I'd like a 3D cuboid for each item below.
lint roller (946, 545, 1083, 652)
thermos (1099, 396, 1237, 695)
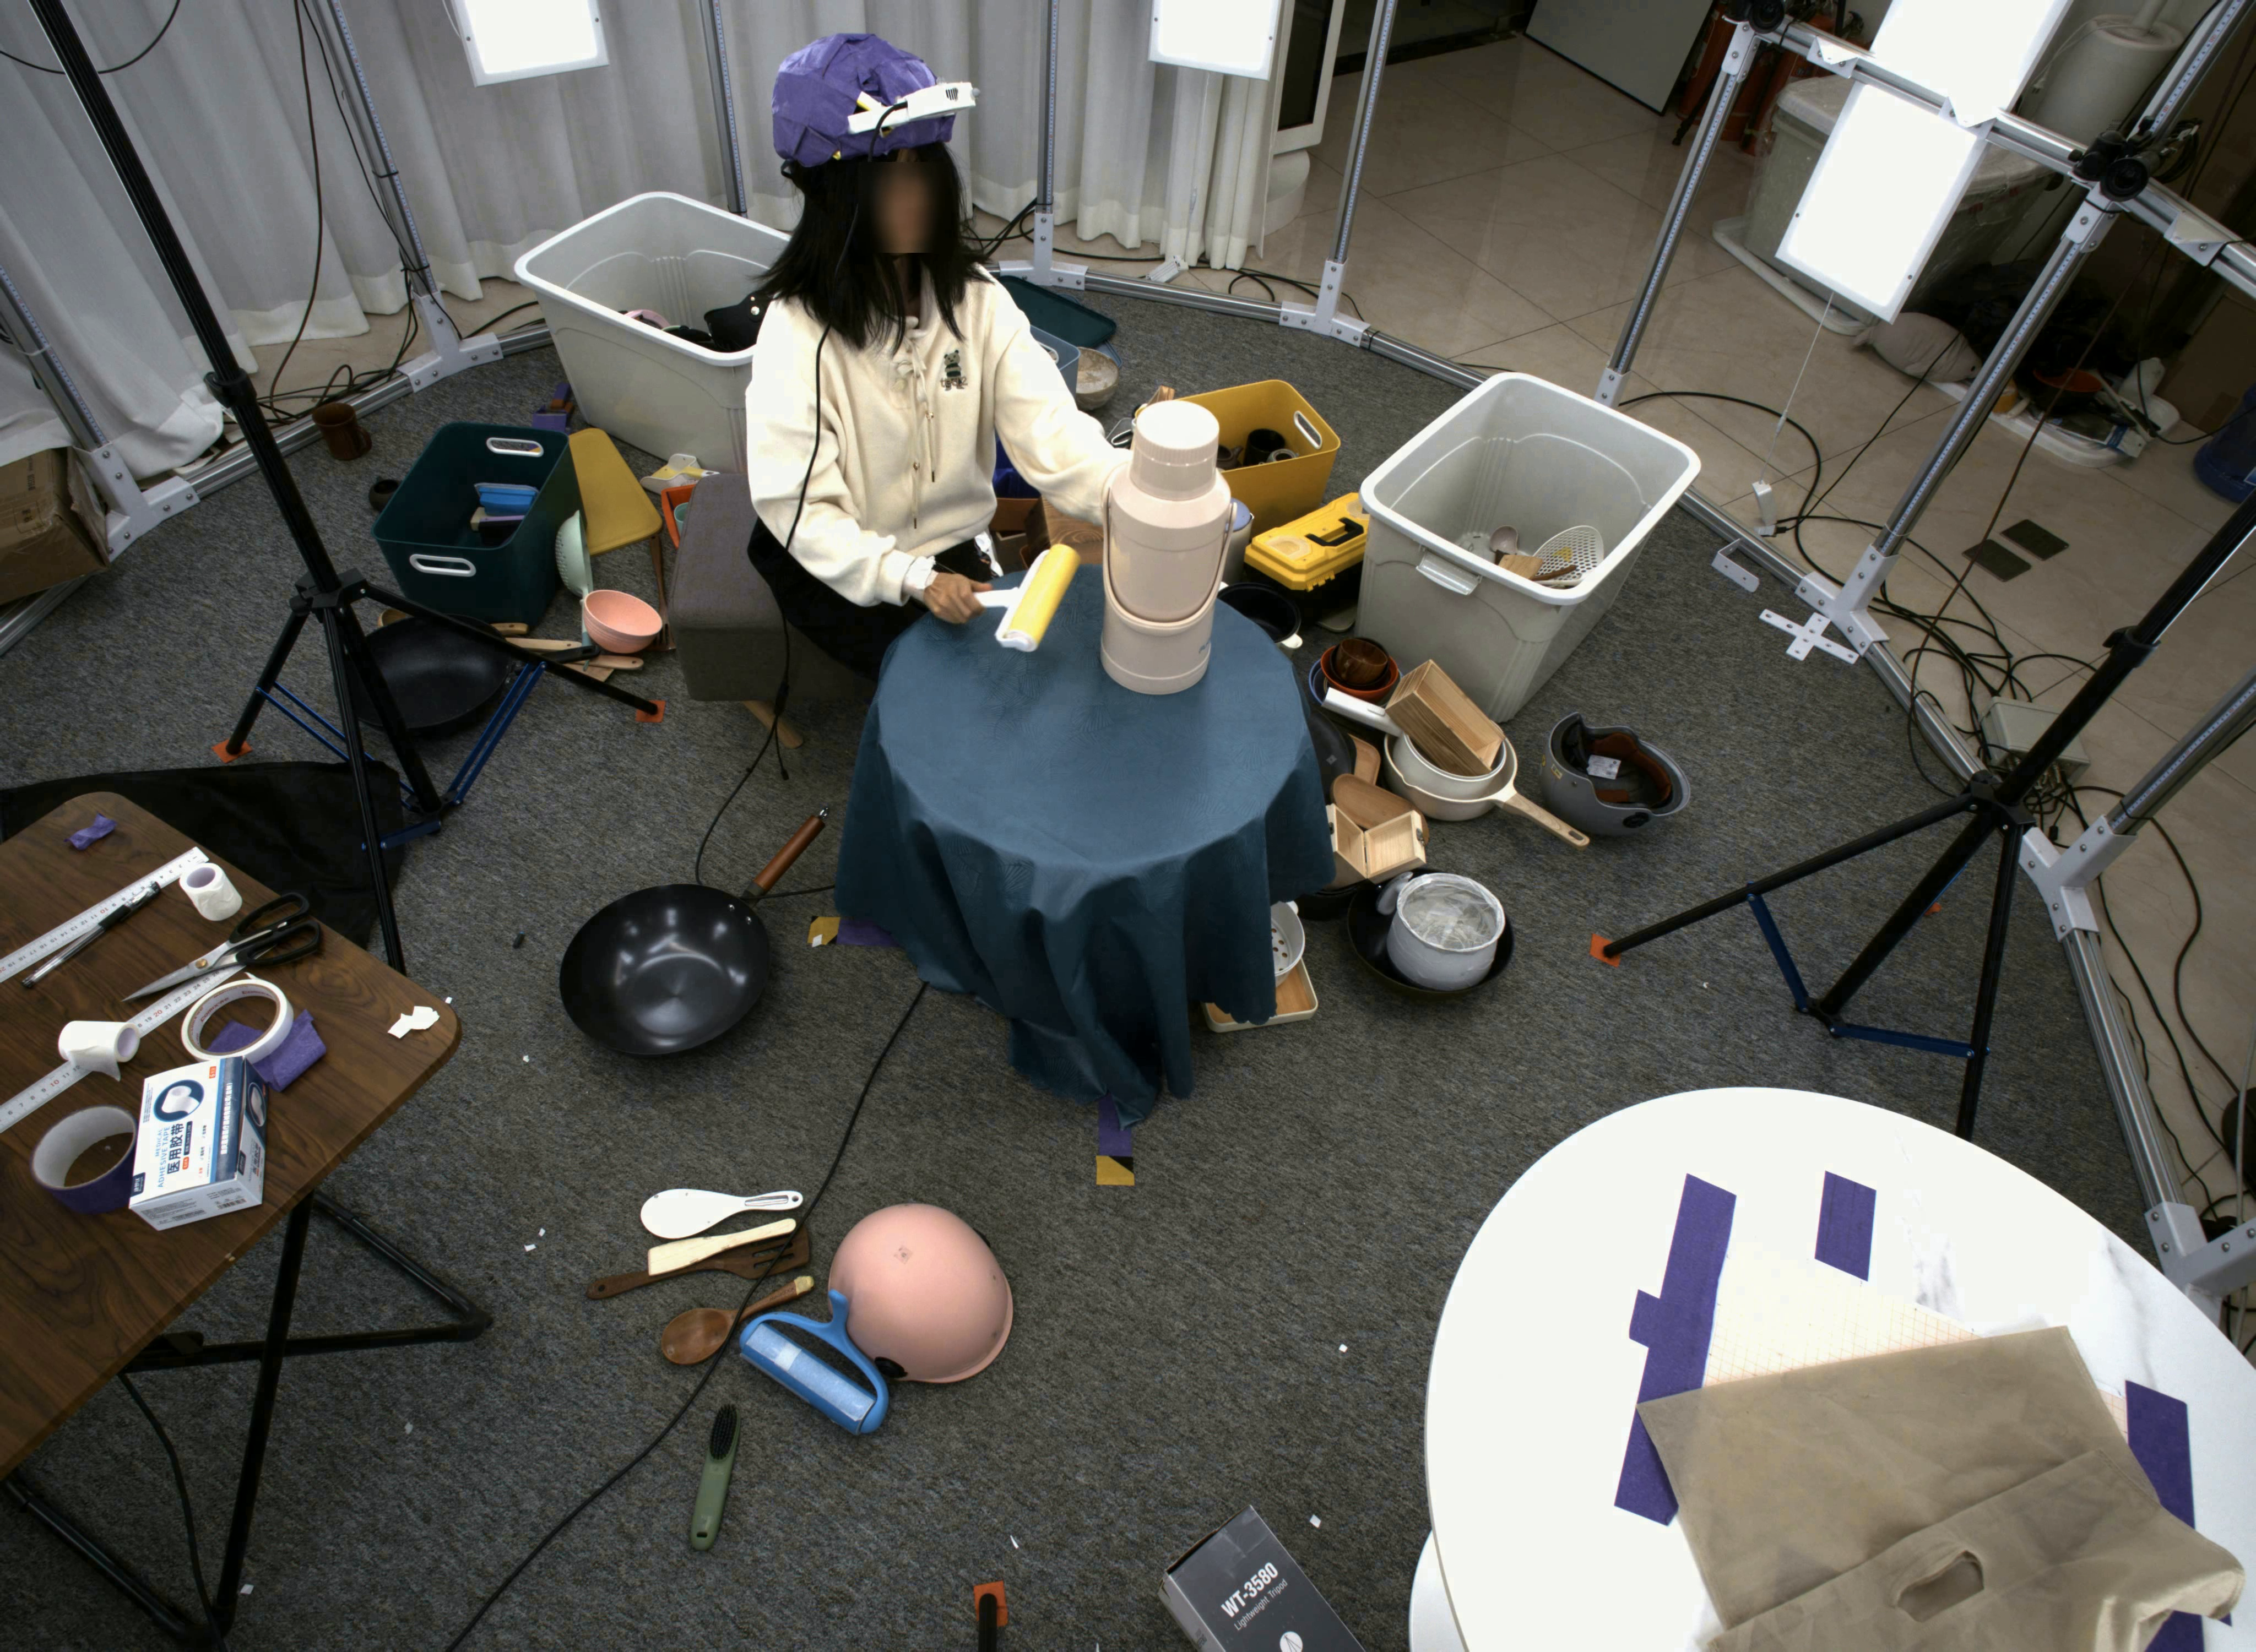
[{"bbox_3d":[-0.178,-0.330,1.827,0.193,0.050,0.177,10,58,21],"label":"lint roller"},{"bbox_3d":[0.053,-0.383,1.751,0.175,0.396,0.212,8,49,3],"label":"thermos"}]
